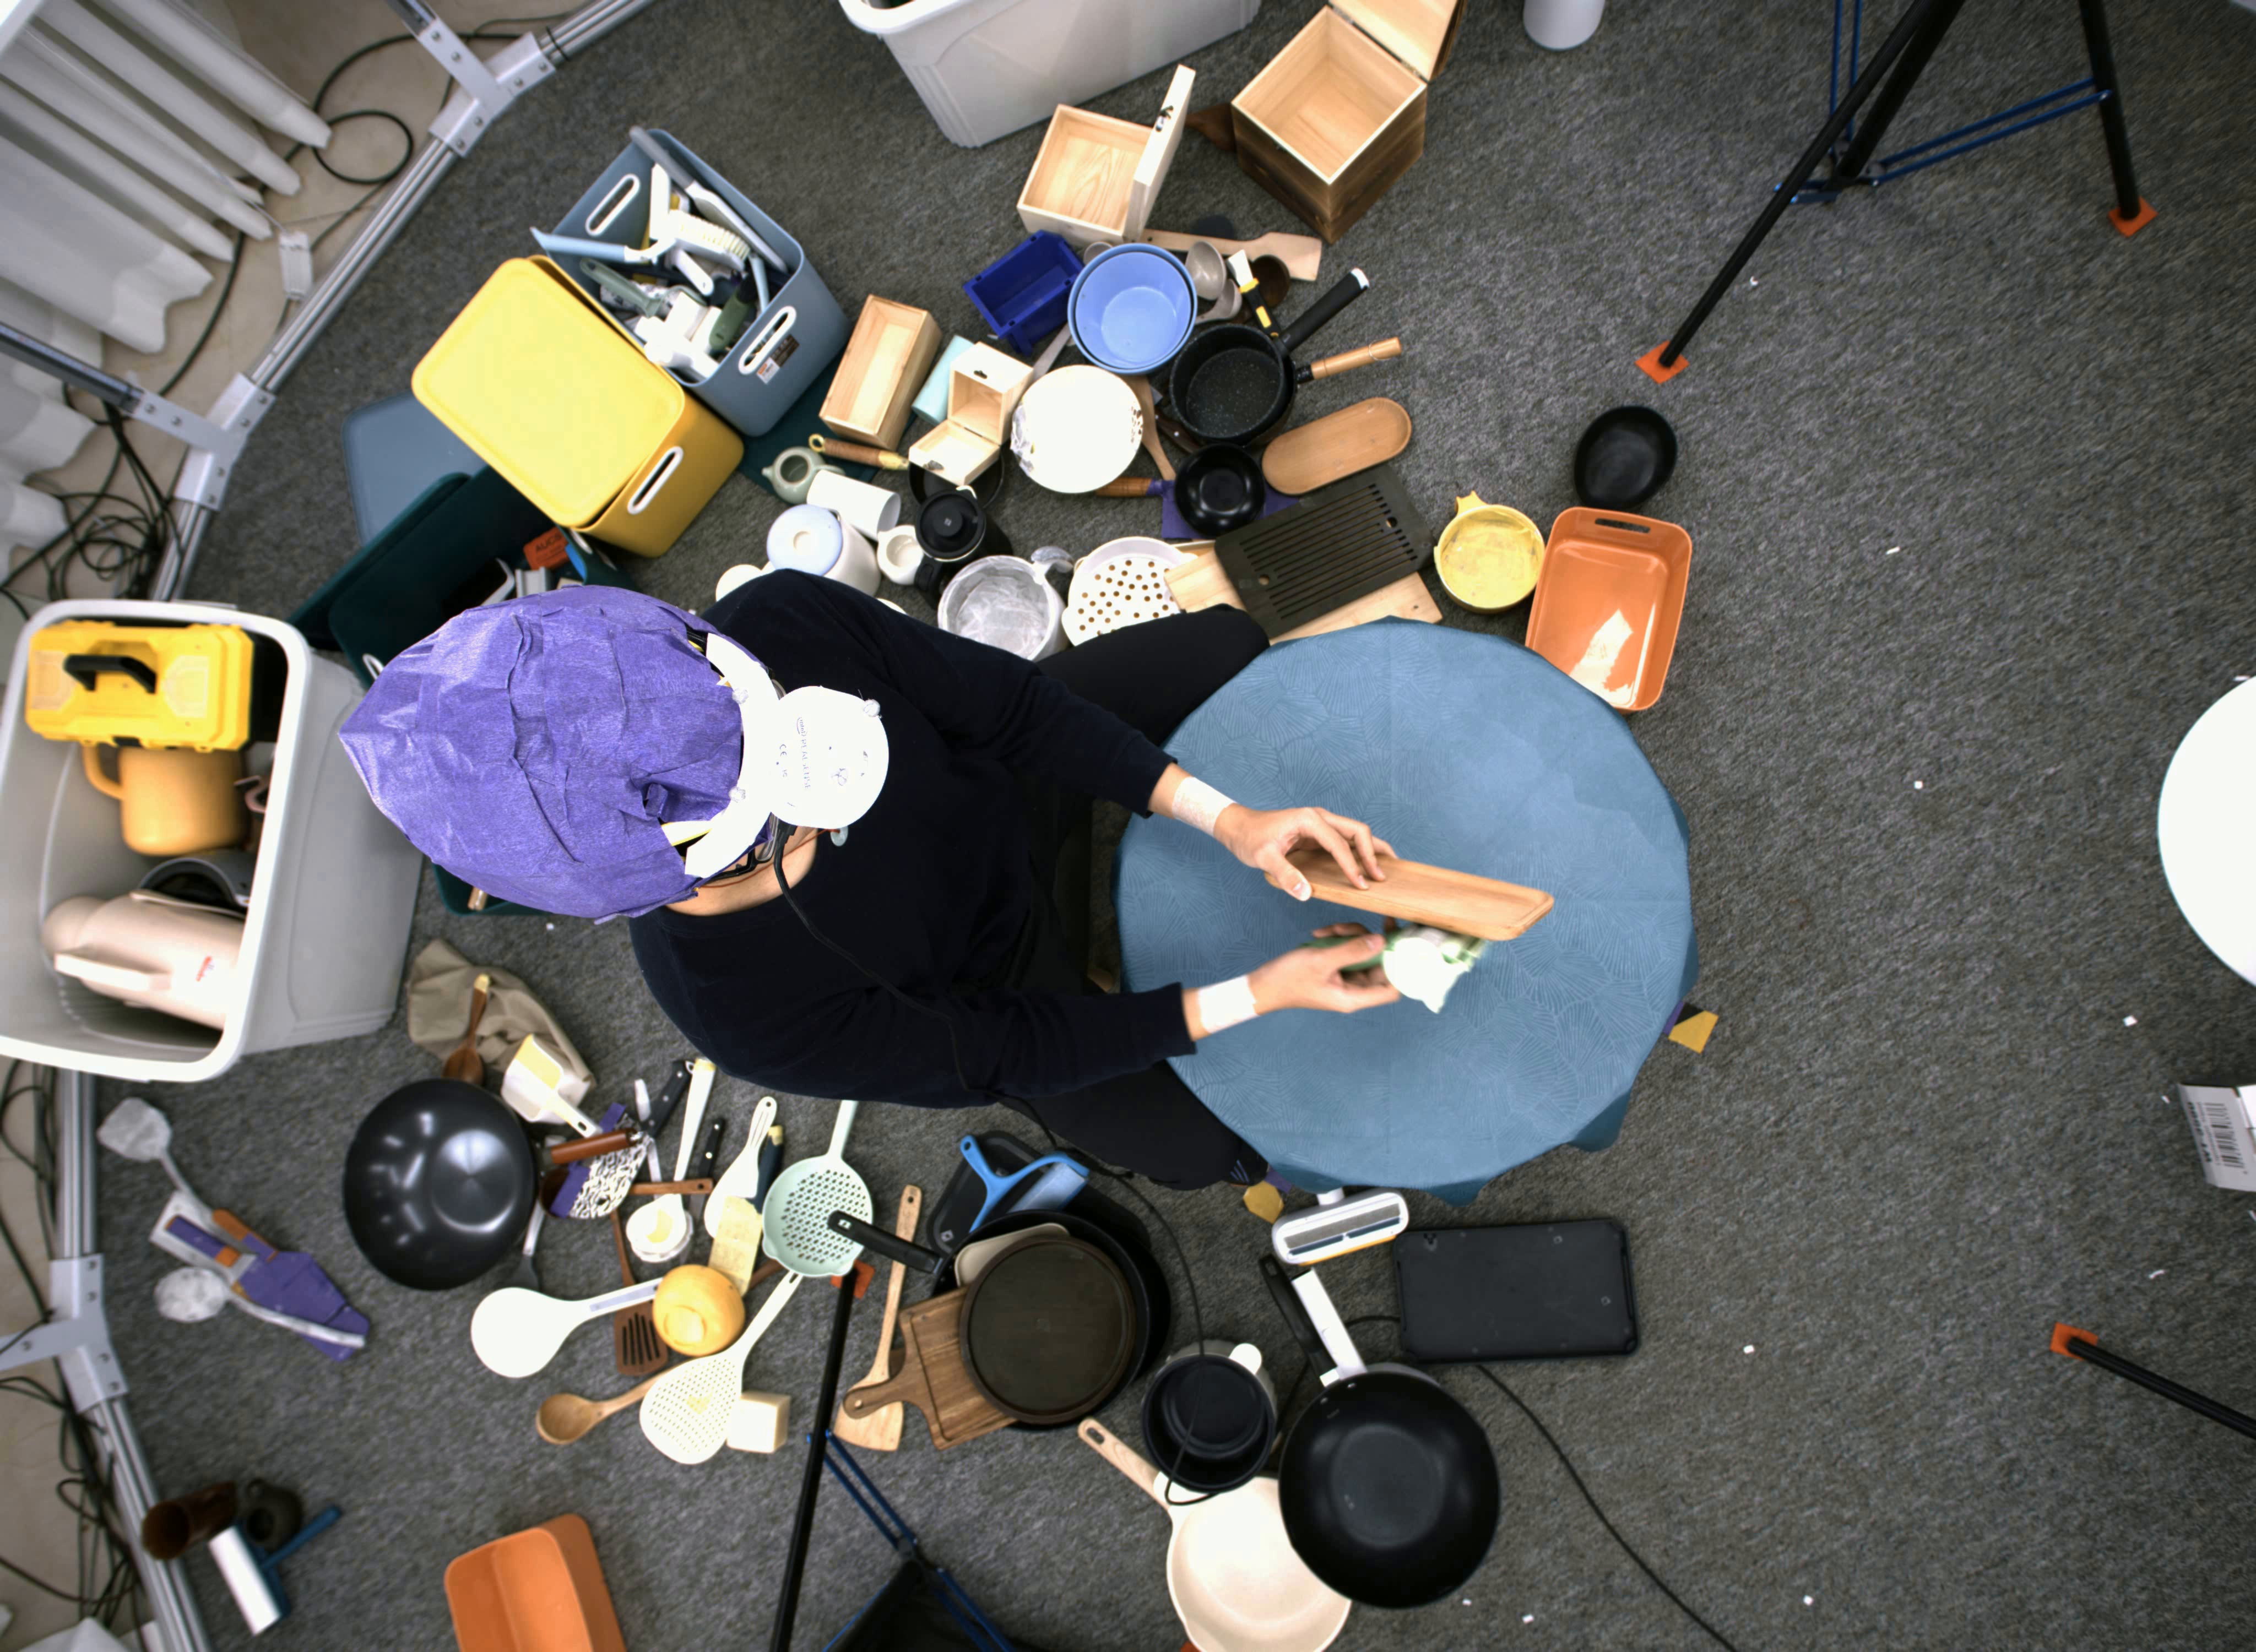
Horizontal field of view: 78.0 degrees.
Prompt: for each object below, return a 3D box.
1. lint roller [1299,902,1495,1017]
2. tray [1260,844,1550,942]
[{"bbox_3d":[0.247,0.128,1.261,0.186,0.195,0.082,-23,91,32],"label":"lint roller"},{"bbox_3d":[0.250,0.057,1.257,0.251,0.129,0.023,13,106,34],"label":"tray"}]
